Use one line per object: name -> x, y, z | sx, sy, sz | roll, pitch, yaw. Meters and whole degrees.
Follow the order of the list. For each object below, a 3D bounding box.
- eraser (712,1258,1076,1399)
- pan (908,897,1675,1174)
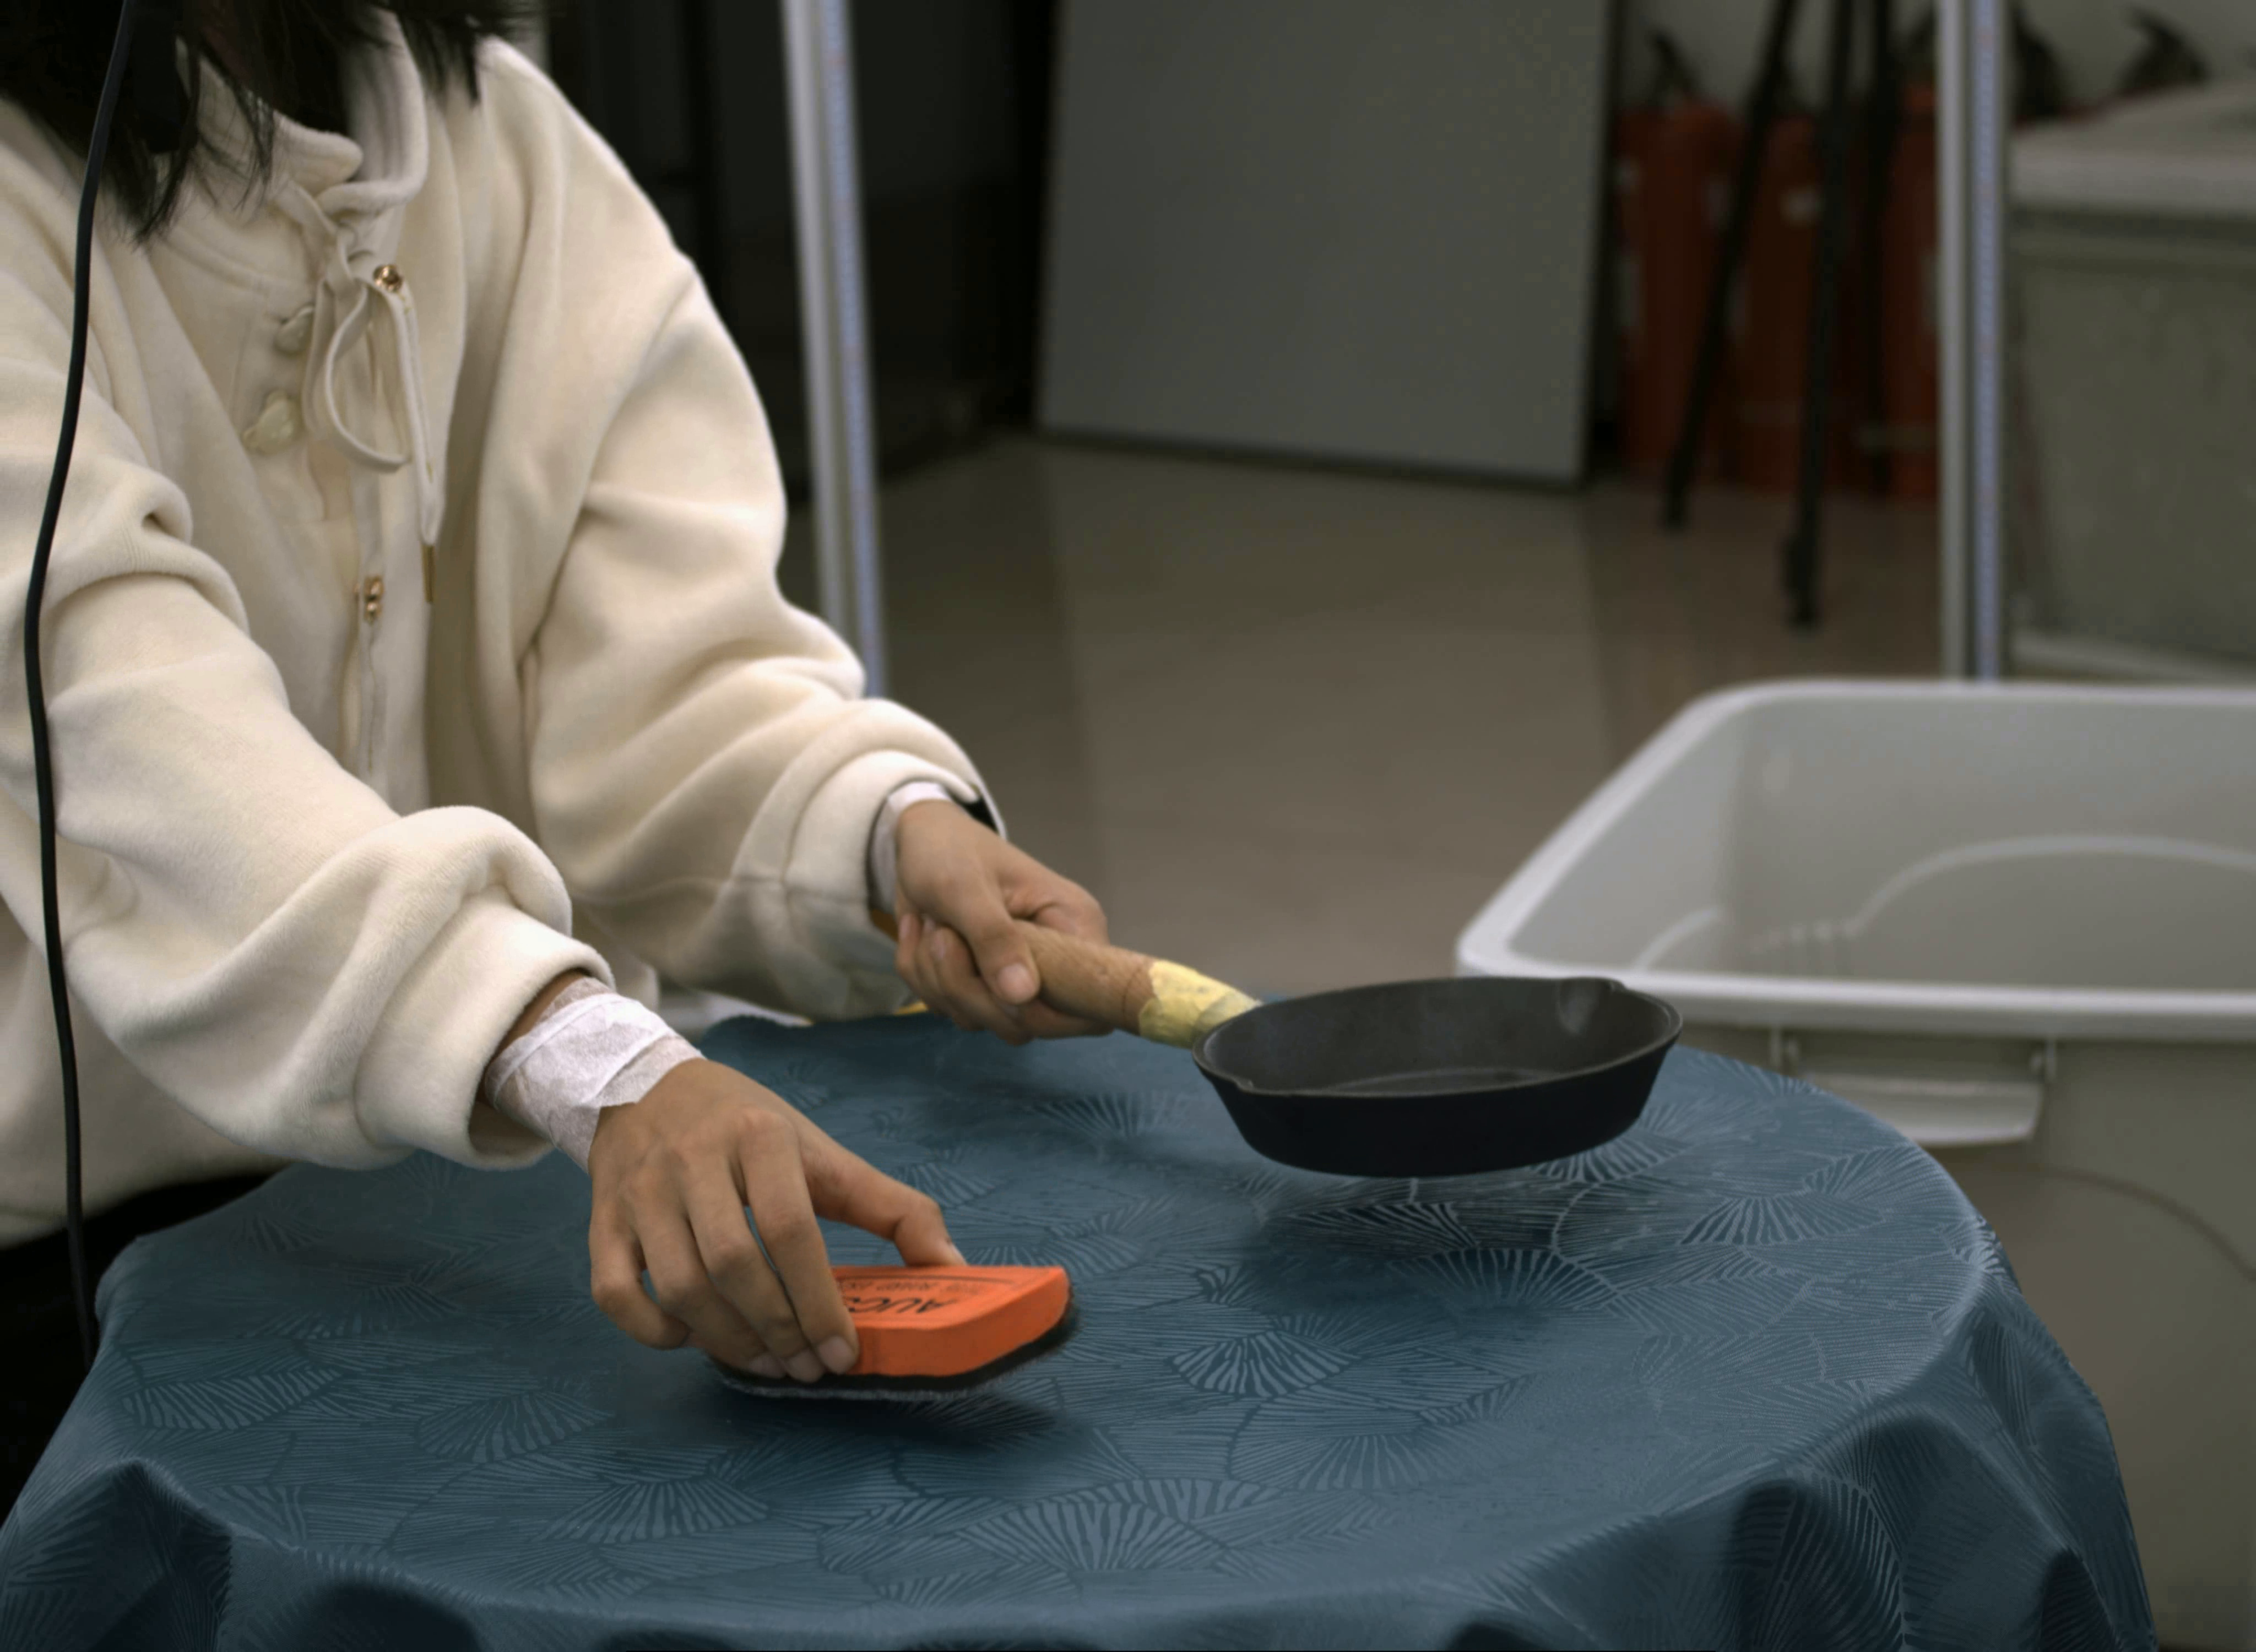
eraser -> -0.069, 0.147, 1.583 | 0.109, 0.023, 0.058 | -6, 13, 46
pan -> 0.040, 0.064, 1.776 | 0.165, 0.050, 0.327 | -15, 15, -40
